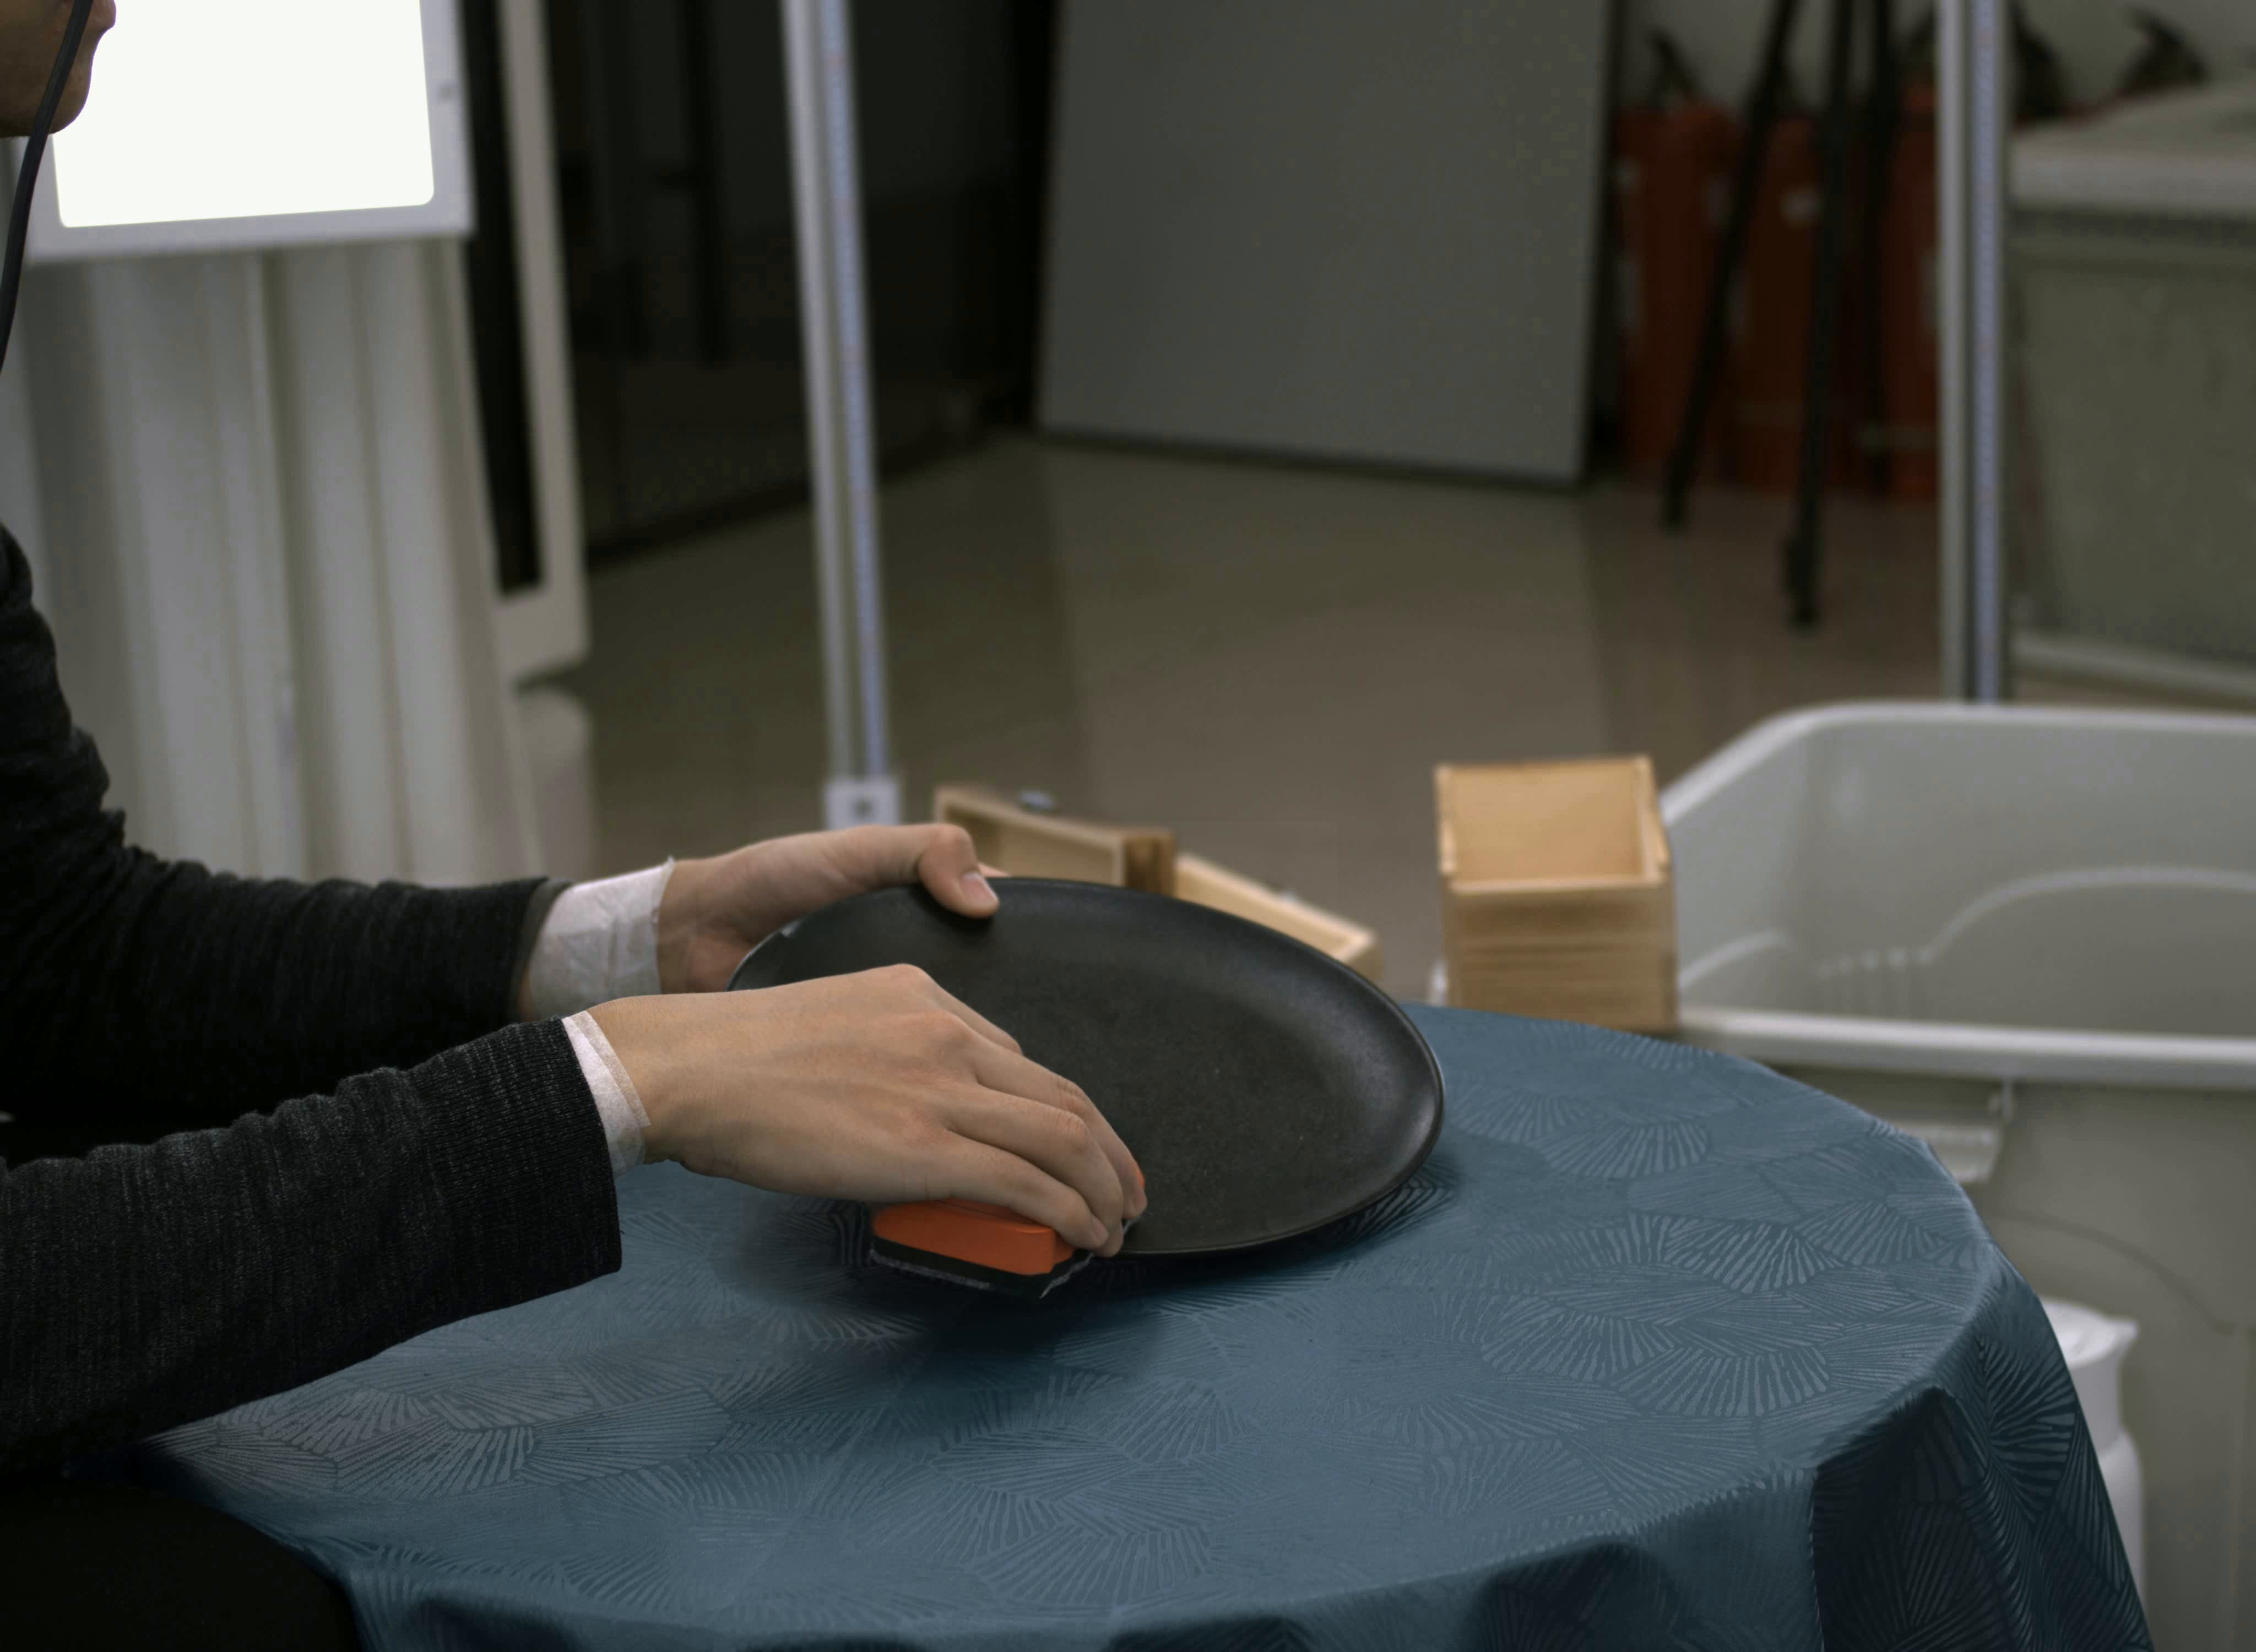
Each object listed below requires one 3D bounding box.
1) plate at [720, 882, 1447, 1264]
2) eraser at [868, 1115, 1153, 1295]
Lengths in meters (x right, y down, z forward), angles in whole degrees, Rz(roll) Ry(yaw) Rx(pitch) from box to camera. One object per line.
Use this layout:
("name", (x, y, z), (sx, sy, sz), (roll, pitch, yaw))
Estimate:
("plate", (-0.015, 0.084, 1.773), (0.241, 0.023, 0.245), (4, 27, -3))
("eraser", (-0.035, 0.115, 1.658), (0.059, 0.023, 0.107), (12, 14, 19))
